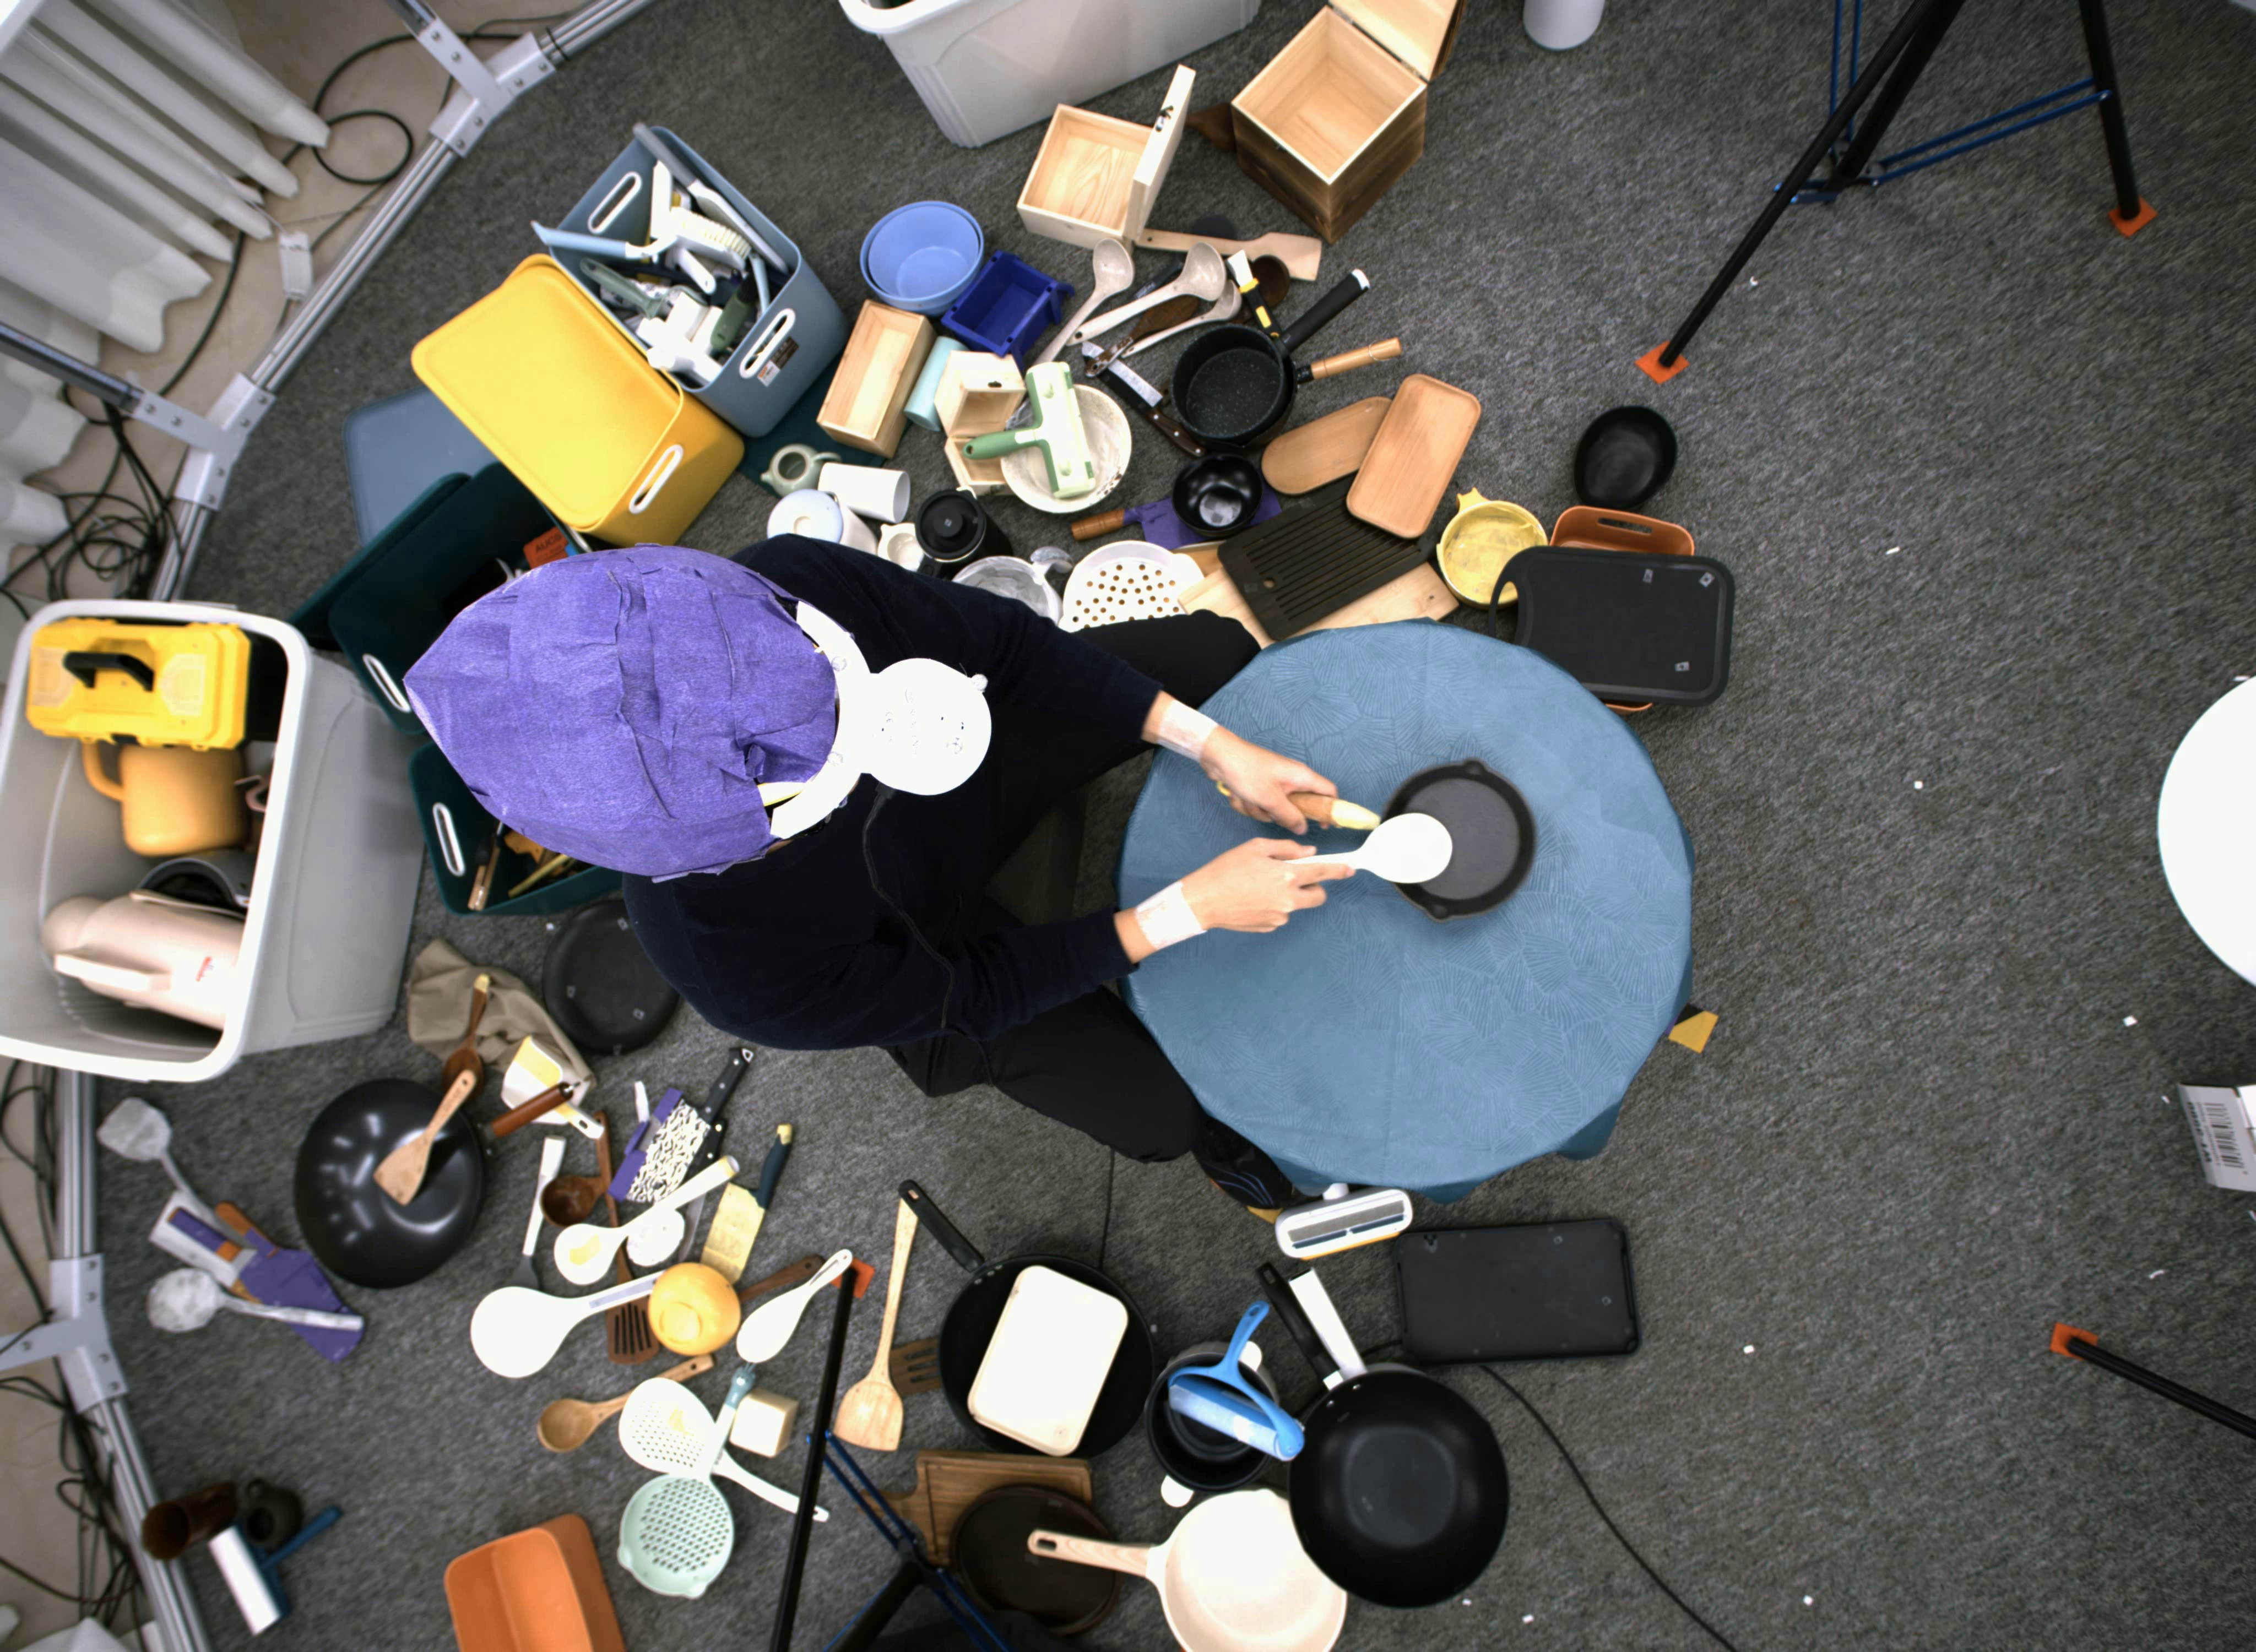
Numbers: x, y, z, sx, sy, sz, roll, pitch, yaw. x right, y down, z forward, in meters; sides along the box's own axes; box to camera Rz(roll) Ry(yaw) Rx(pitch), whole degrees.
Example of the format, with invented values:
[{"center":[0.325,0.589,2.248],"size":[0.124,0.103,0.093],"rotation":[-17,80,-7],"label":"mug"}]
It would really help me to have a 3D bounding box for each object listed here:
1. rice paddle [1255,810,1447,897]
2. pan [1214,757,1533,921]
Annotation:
[{"center":[0.226,0.030,1.374],"size":[0.204,0.029,0.068],"rotation":[-13,88,-12],"label":"rice paddle"},{"center":[0.246,-0.010,1.398],"size":[0.324,0.049,0.170],"rotation":[15,98,11],"label":"pan"}]
